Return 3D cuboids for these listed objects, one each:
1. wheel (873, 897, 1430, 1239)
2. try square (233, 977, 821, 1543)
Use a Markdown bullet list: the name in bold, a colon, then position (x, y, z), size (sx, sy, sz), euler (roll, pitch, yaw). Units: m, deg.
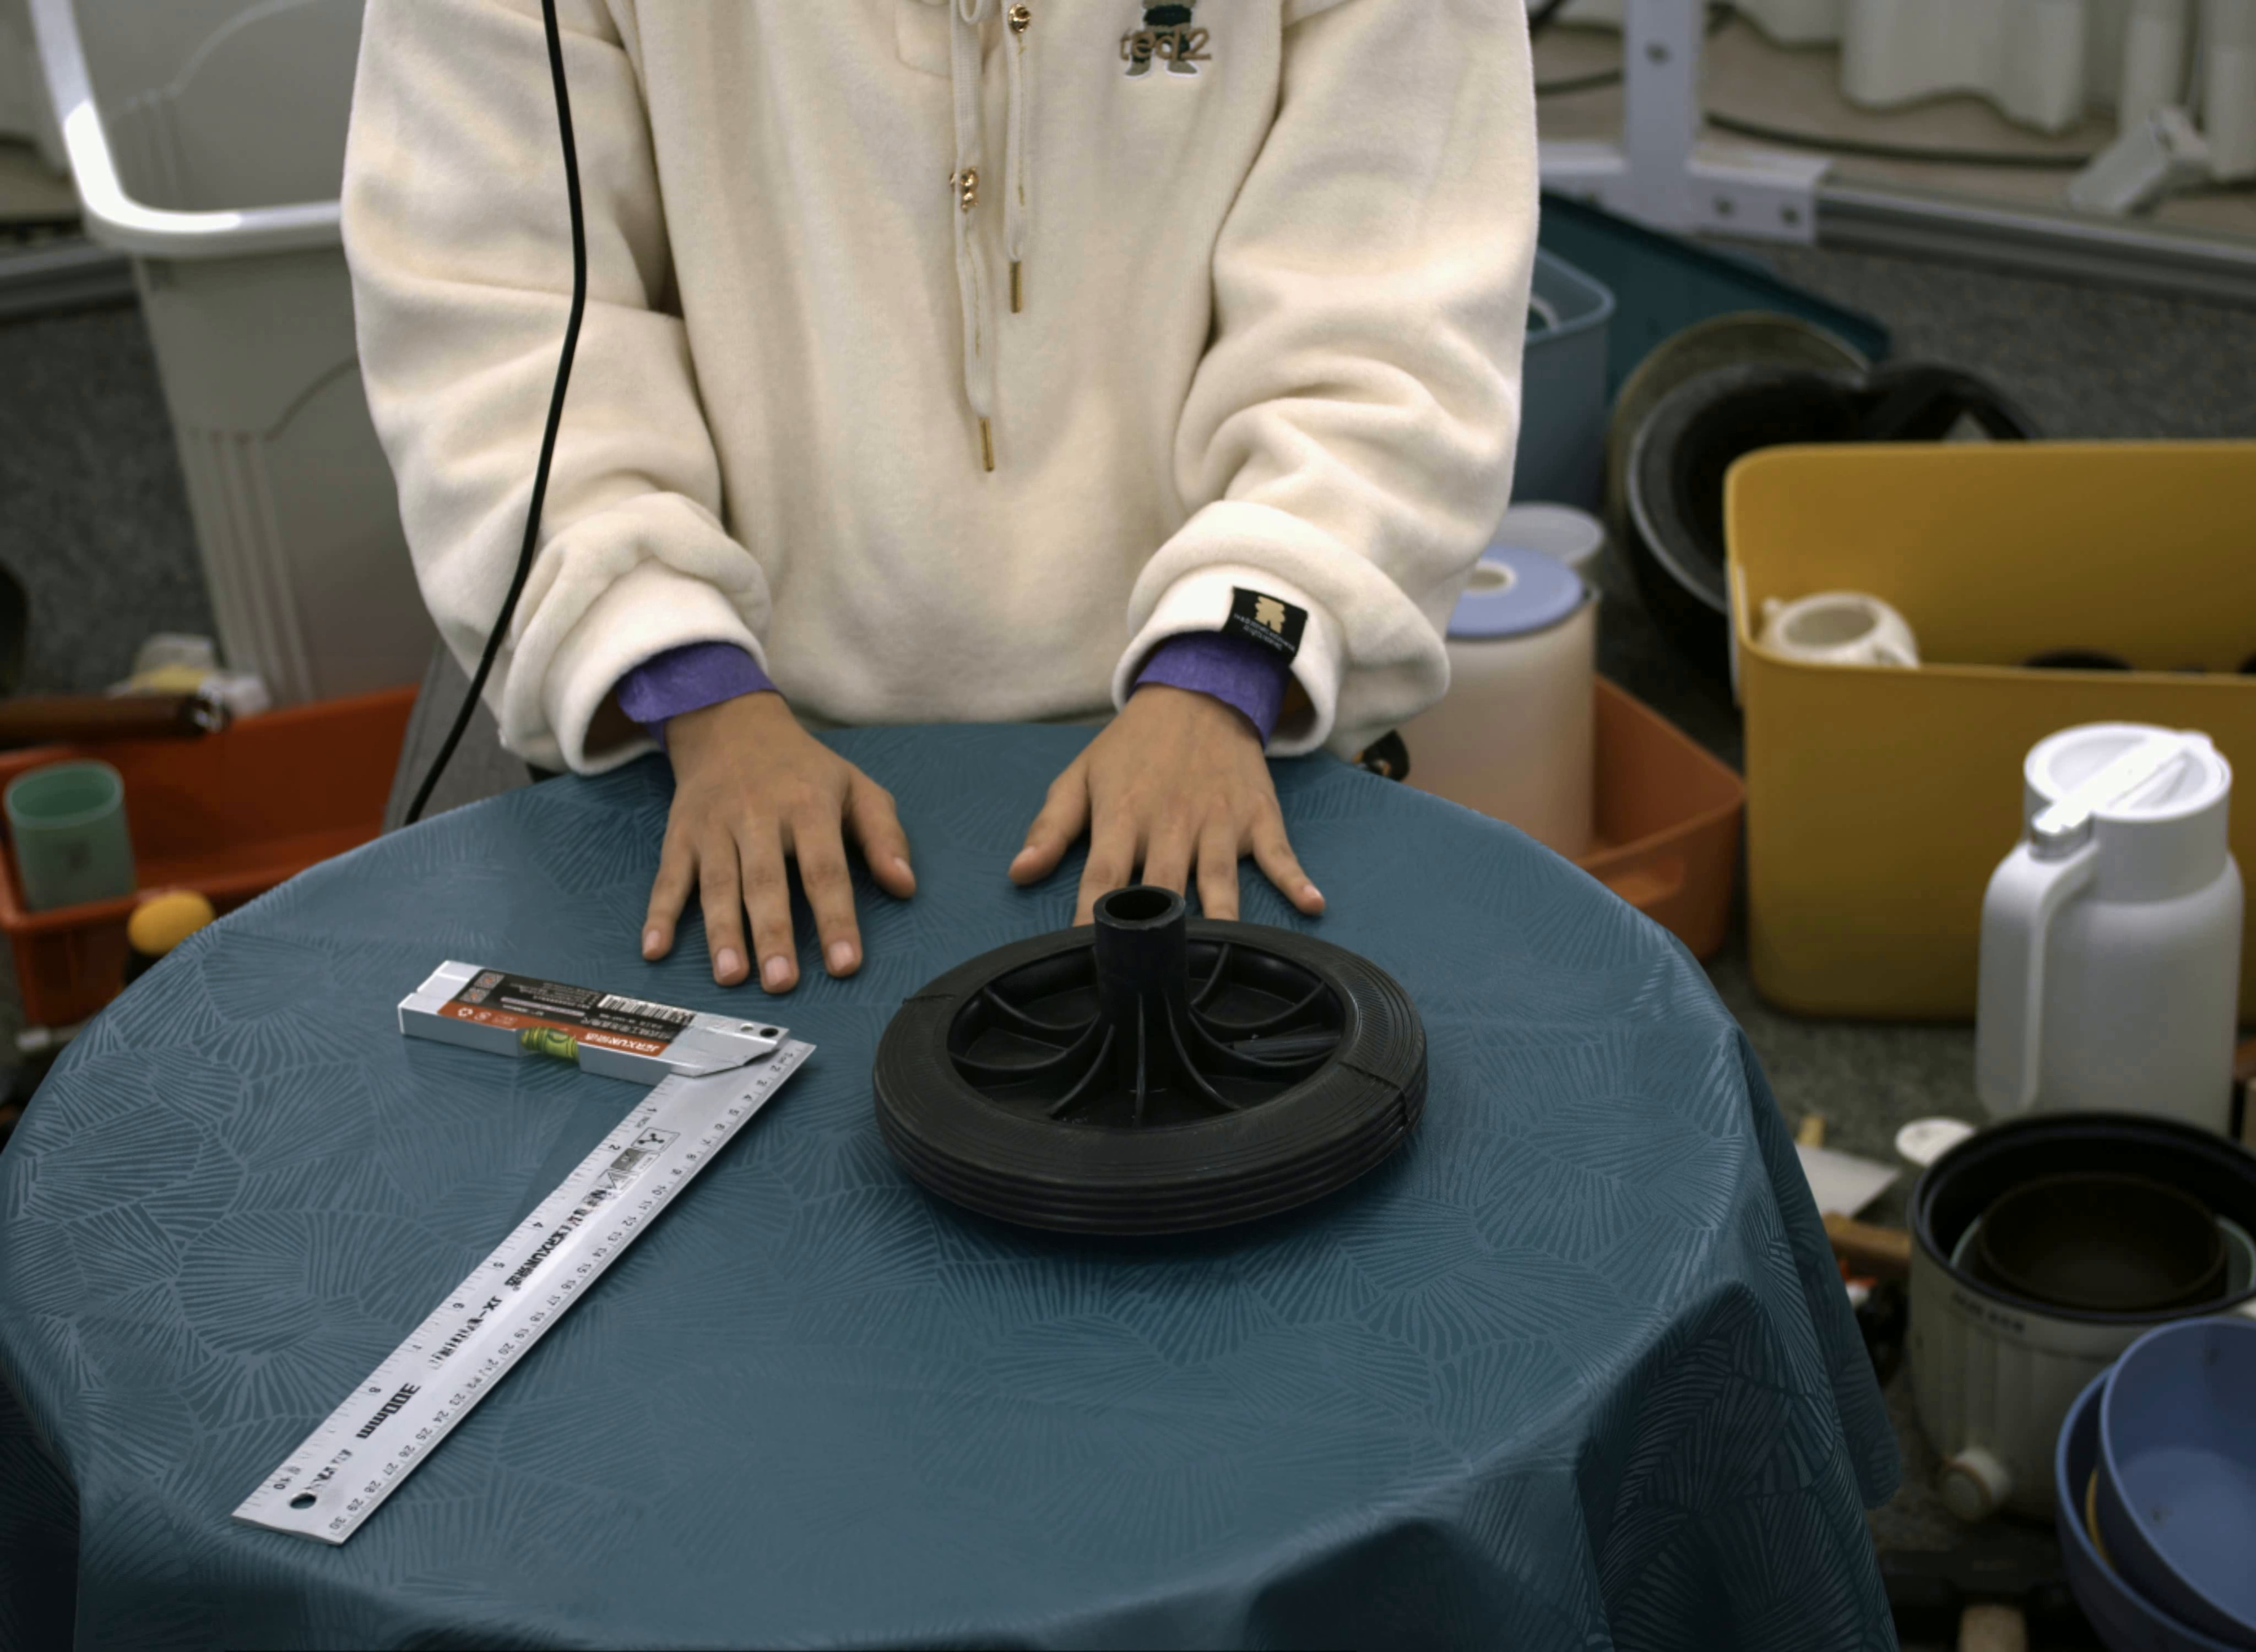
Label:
- **wheel**: position (0.007, 0.066, 1.887), size (0.191, 0.078, 0.188), euler (-16, 28, -25)
- **try square**: position (-0.238, 0.137, 1.851), size (0.151, 0.016, 0.318), euler (7, 30, 25)
